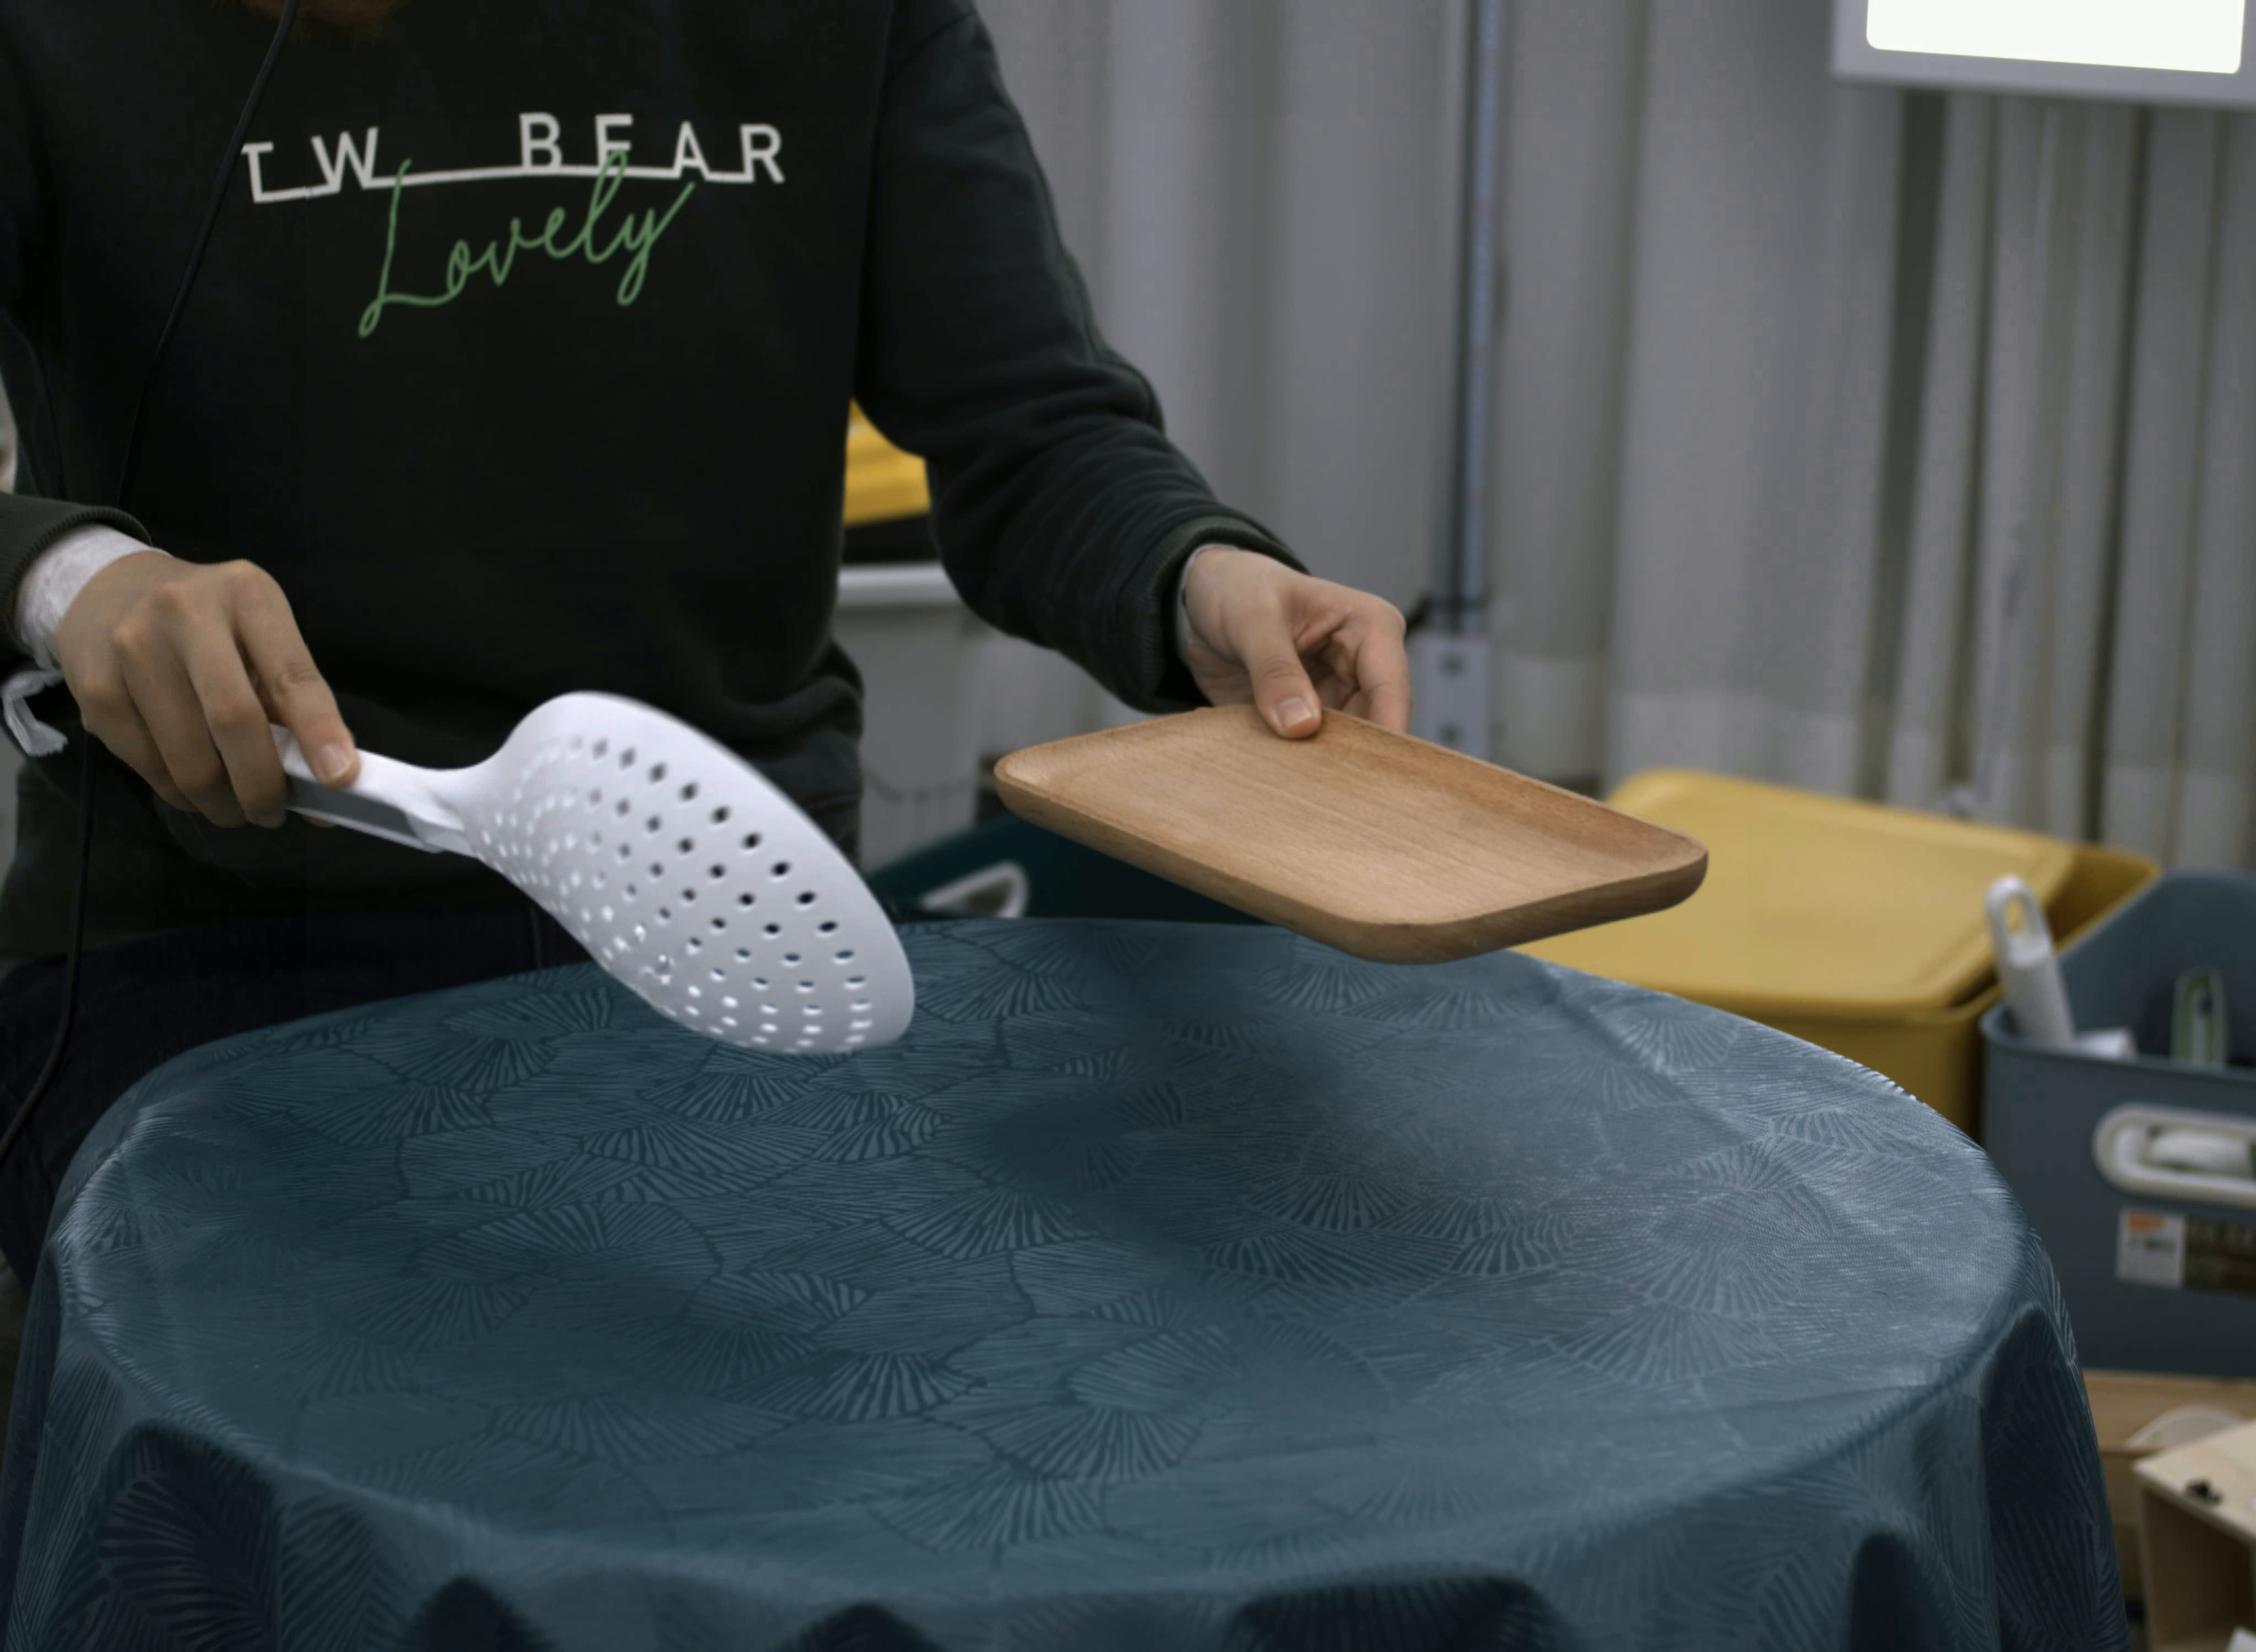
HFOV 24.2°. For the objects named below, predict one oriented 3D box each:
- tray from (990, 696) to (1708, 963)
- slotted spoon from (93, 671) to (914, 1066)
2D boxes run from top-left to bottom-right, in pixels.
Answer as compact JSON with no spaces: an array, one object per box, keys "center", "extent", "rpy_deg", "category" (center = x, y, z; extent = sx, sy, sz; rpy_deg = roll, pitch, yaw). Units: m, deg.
[{"center":[0.064,-0.001,1.626],"extent":[0.131,0.023,0.247],"rpy_deg":[-10,17,-29],"category":"tray"},{"center":[-0.194,-0.004,1.540],"extent":[0.046,0.138,0.345],"rpy_deg":[-41,39,-27],"category":"slotted spoon"}]
